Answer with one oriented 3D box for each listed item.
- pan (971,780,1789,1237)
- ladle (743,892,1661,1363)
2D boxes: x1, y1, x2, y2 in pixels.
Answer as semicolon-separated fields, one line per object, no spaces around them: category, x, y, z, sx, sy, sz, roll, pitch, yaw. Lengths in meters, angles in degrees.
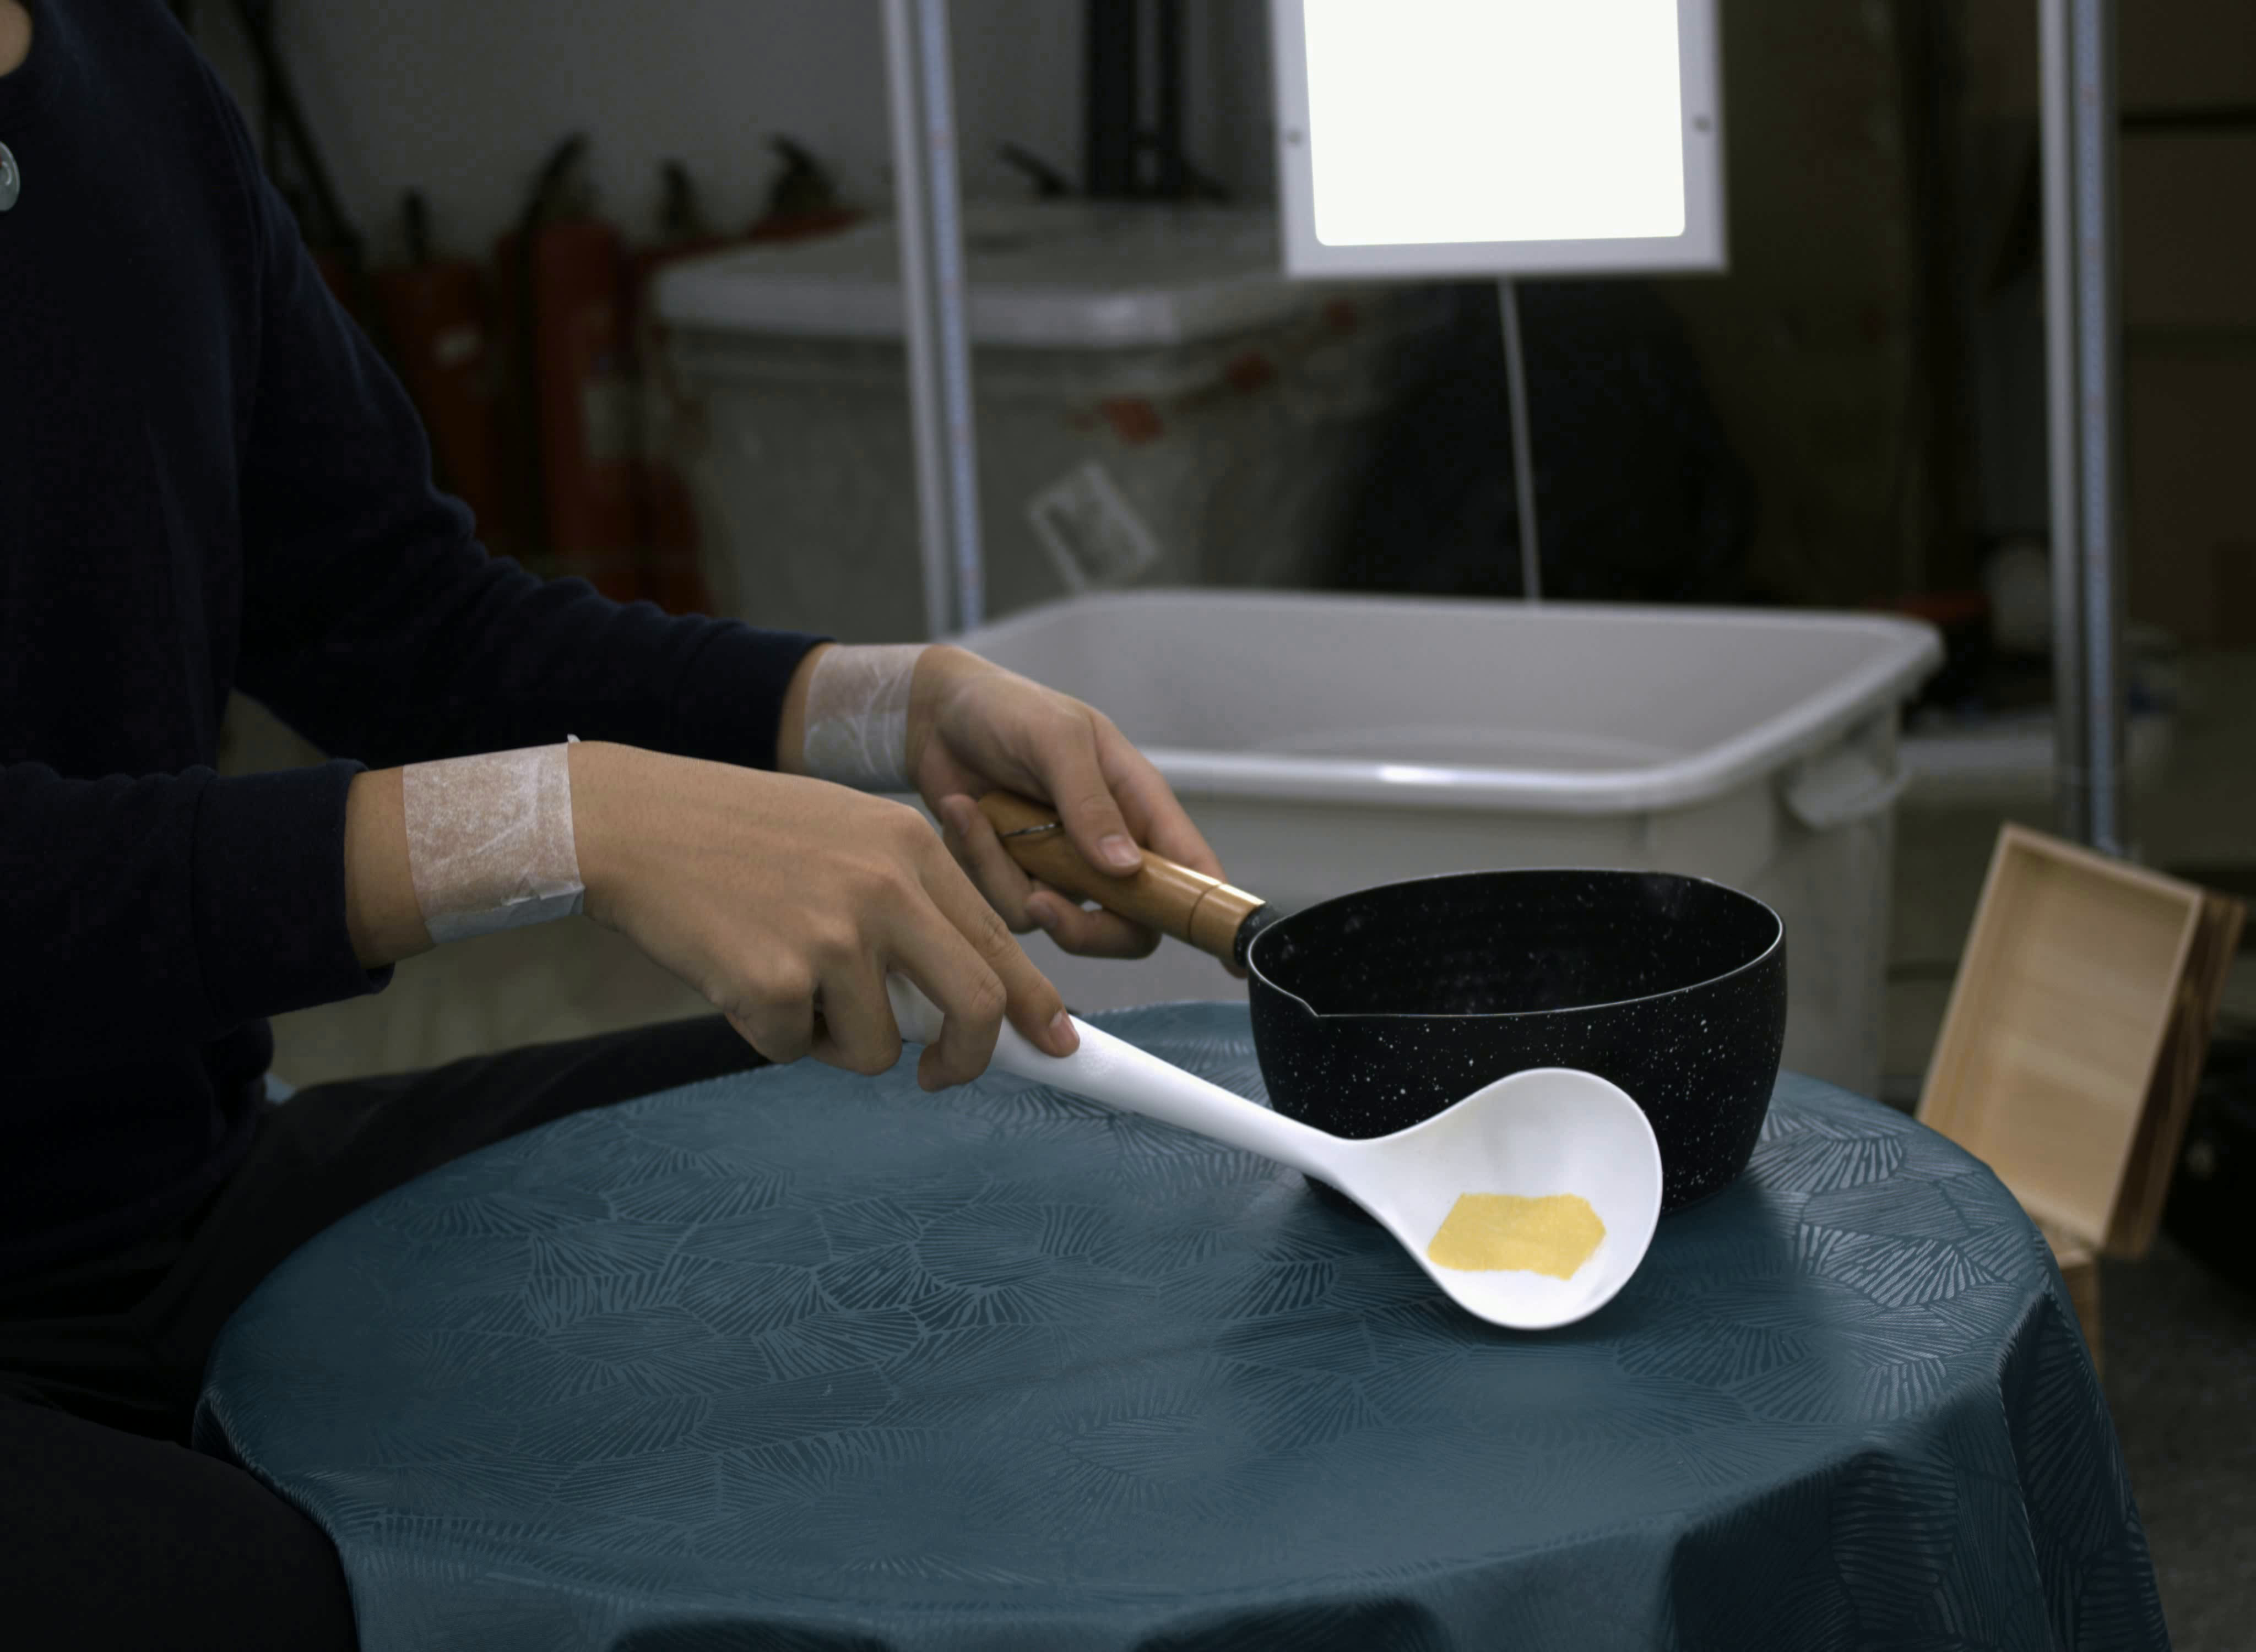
pan;0.074;0.058;1.922;0.350;0.108;0.202;10;21;42
ladle;0.024;0.084;1.704;0.289;0.090;0.071;23;-18;-16
